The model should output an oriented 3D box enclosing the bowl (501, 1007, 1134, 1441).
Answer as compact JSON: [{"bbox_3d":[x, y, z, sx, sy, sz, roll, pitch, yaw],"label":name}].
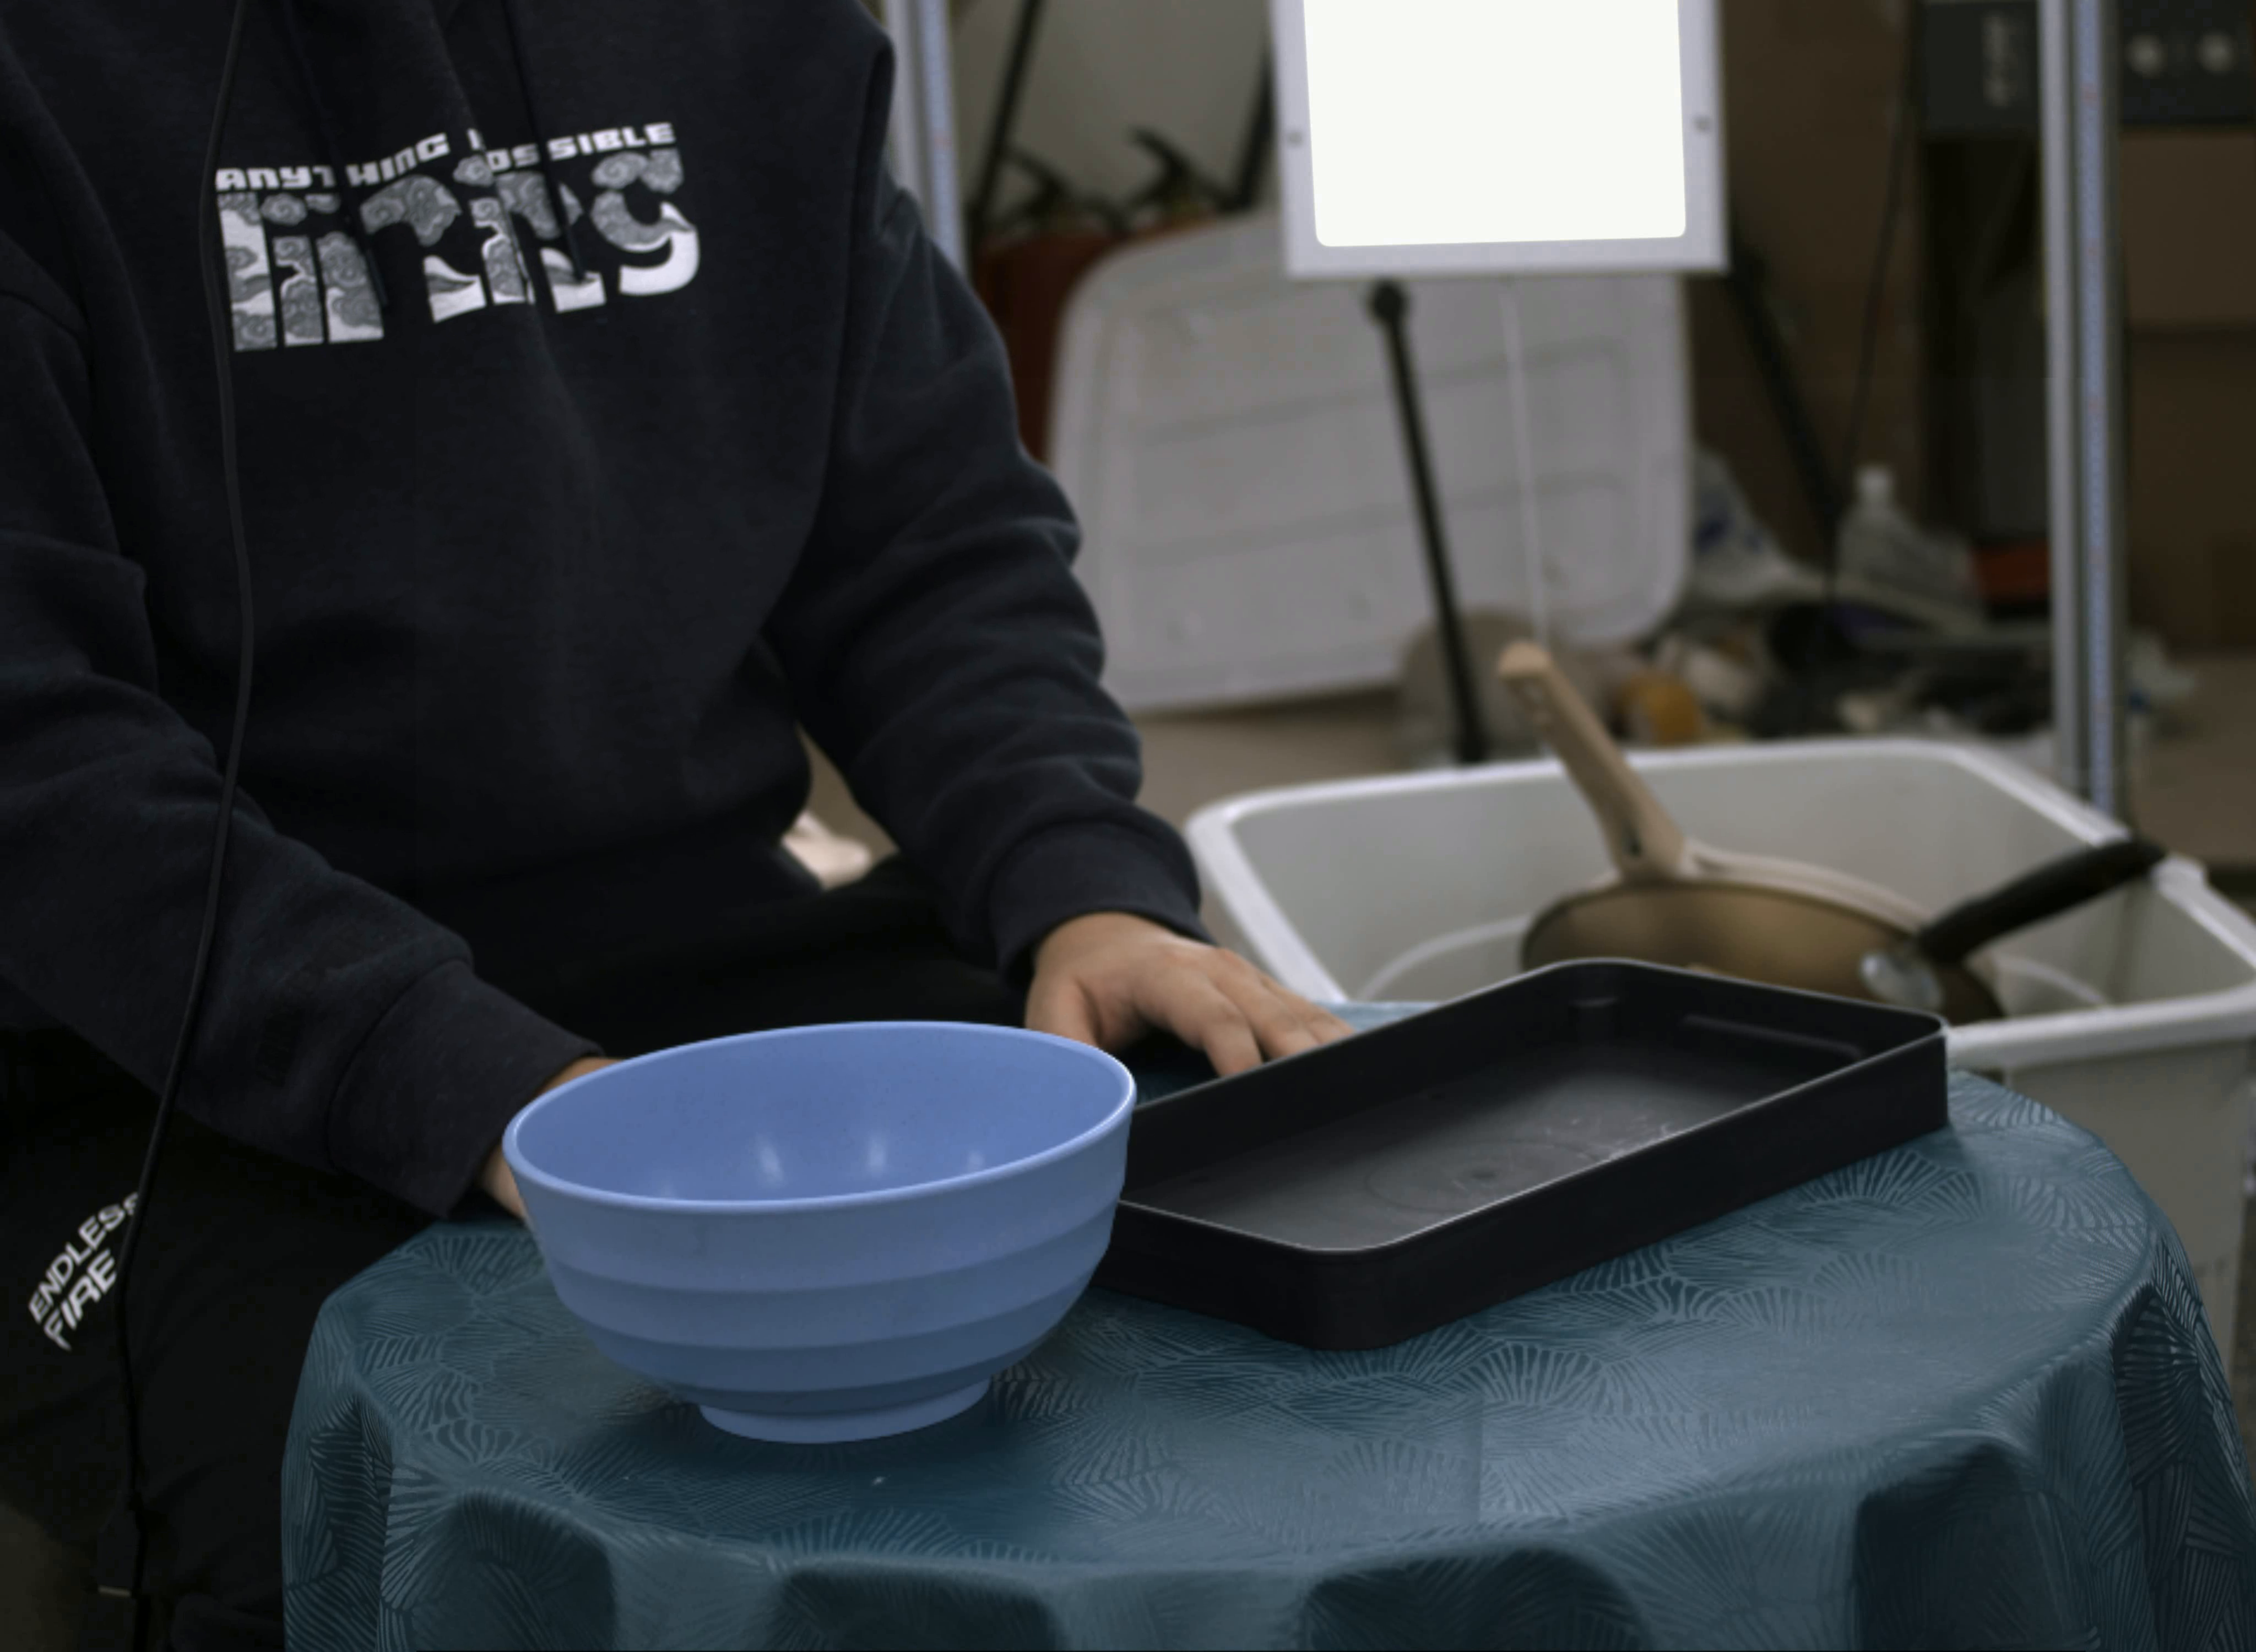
[{"bbox_3d":[-0.092,0.129,1.708,0.196,0.096,0.196,-6,15,0],"label":"bowl"}]

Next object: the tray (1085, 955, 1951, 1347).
[{"bbox_3d":[0.120,0.105,1.865,0.310,0.037,0.188,-16,17,-40],"label":"tray"}]
